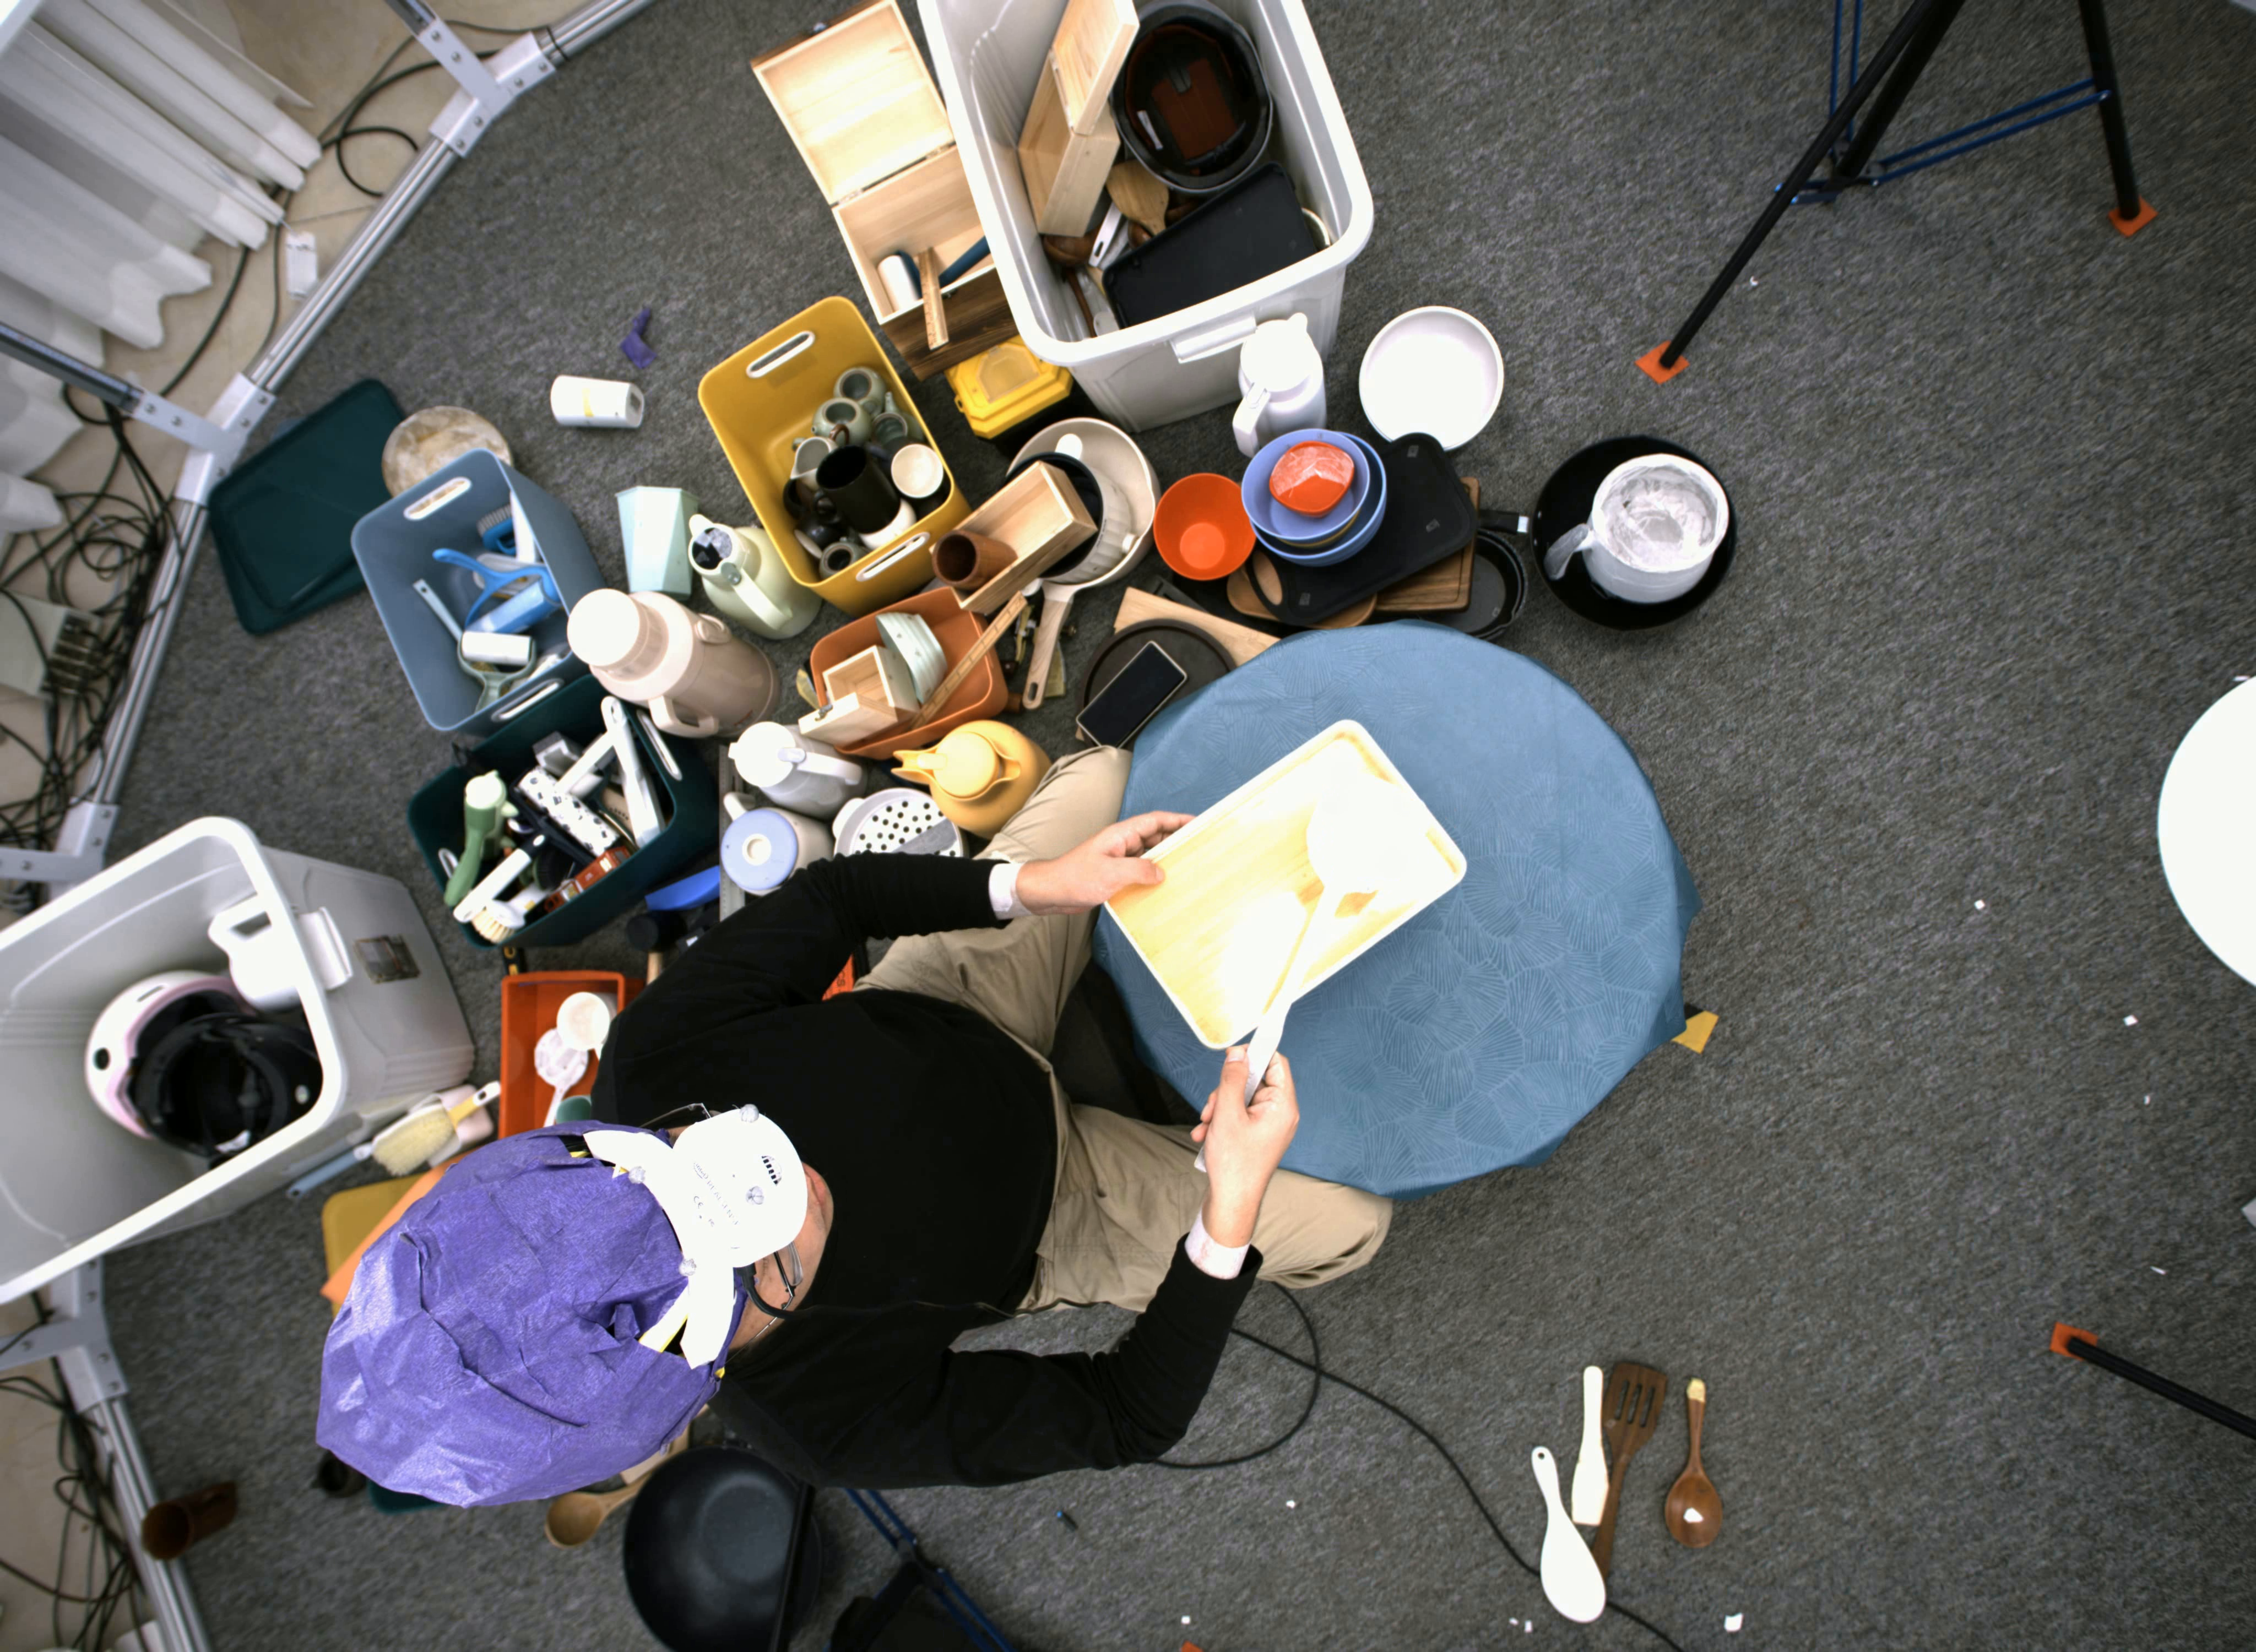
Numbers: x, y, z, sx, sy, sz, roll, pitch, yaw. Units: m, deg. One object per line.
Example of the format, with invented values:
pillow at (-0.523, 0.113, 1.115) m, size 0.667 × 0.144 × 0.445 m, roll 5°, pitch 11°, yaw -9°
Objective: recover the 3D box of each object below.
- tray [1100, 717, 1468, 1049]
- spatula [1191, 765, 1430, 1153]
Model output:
tray at (0.144, 0.050, 1.283) m, size 0.300 × 0.027 × 0.190 m, roll -34°, pitch 79°, yaw -3°
spatula at (0.145, 0.117, 1.184) m, size 0.099 × 0.045 × 0.360 m, roll 27°, pitch 78°, yaw 3°
